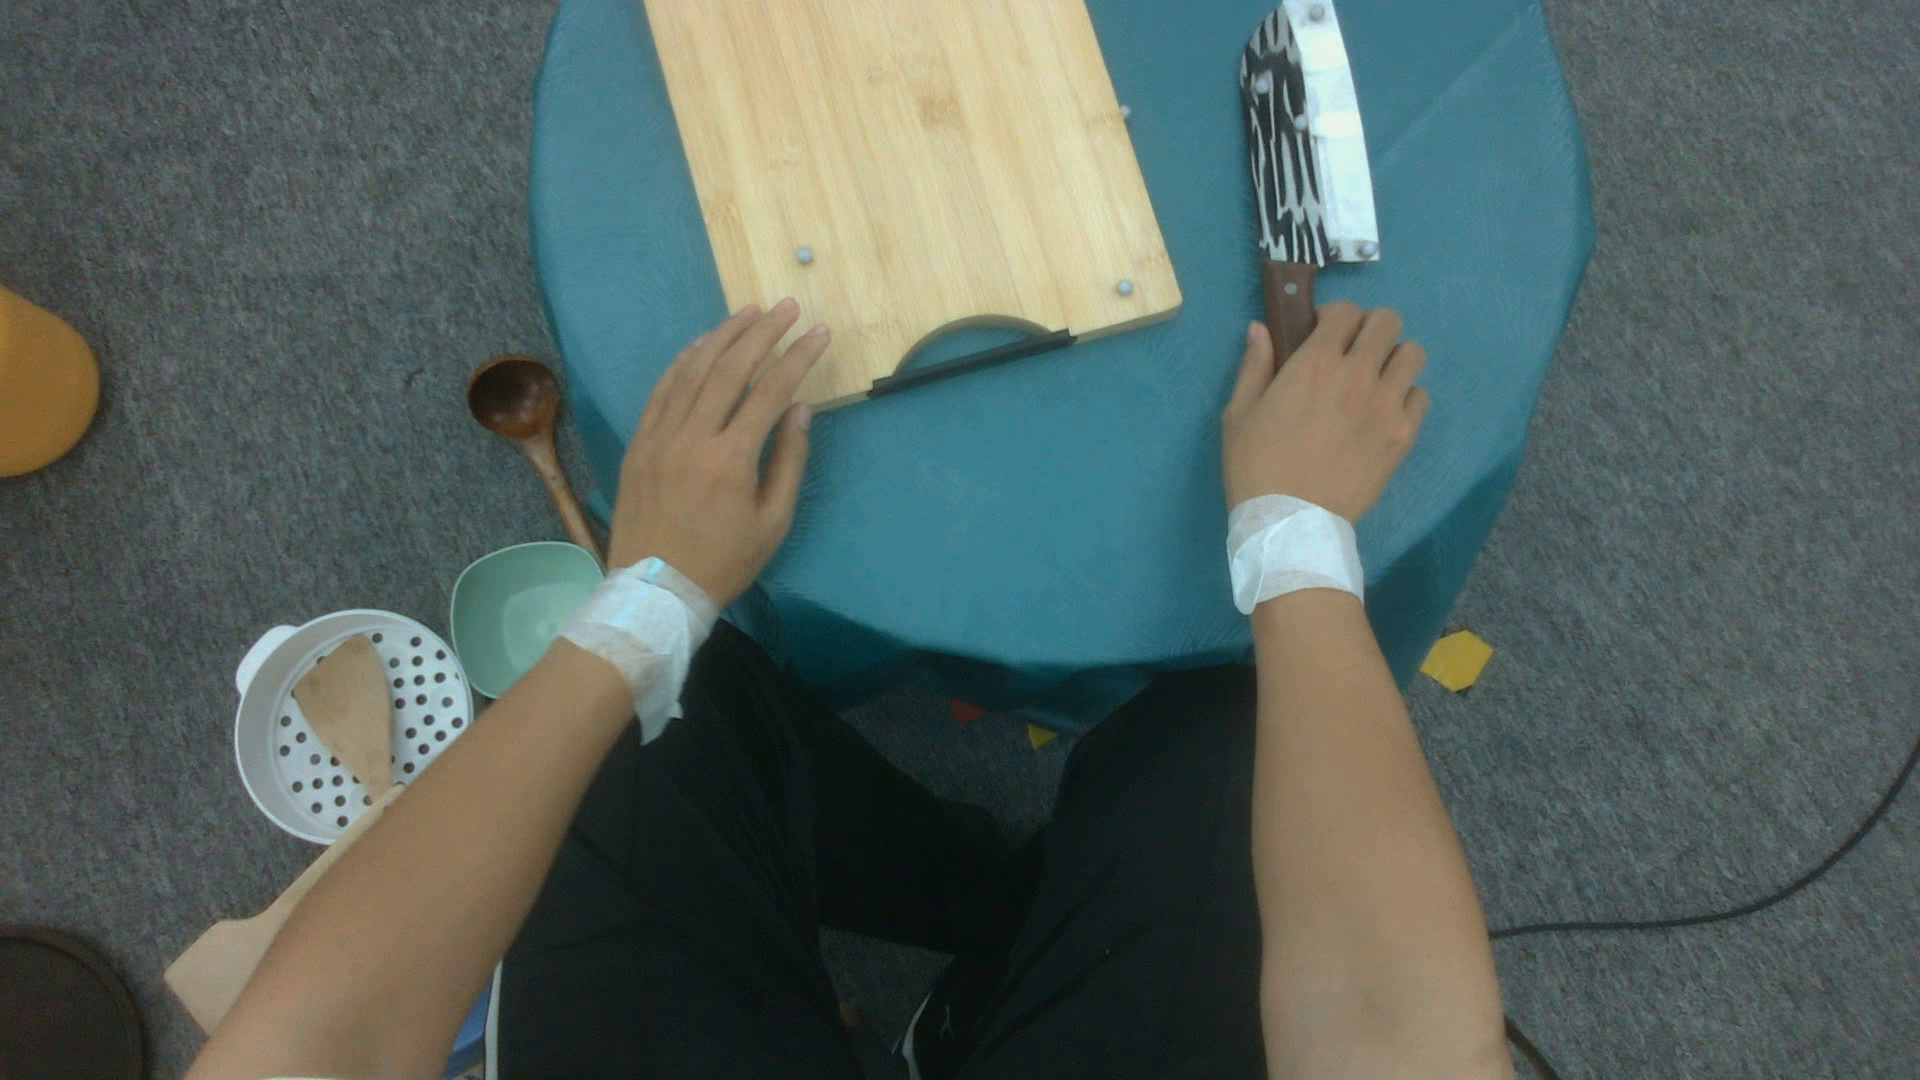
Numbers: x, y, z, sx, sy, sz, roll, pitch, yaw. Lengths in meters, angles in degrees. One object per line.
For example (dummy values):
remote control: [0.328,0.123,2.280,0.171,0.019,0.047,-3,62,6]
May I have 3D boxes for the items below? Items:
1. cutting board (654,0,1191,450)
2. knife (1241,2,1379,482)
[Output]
cutting board: [-0.034,-0.245,0.795,0.251,0.023,0.349,-17,78,-5]
knife: [0.202,-0.177,0.782,0.068,0.024,0.300,-2,74,0]
